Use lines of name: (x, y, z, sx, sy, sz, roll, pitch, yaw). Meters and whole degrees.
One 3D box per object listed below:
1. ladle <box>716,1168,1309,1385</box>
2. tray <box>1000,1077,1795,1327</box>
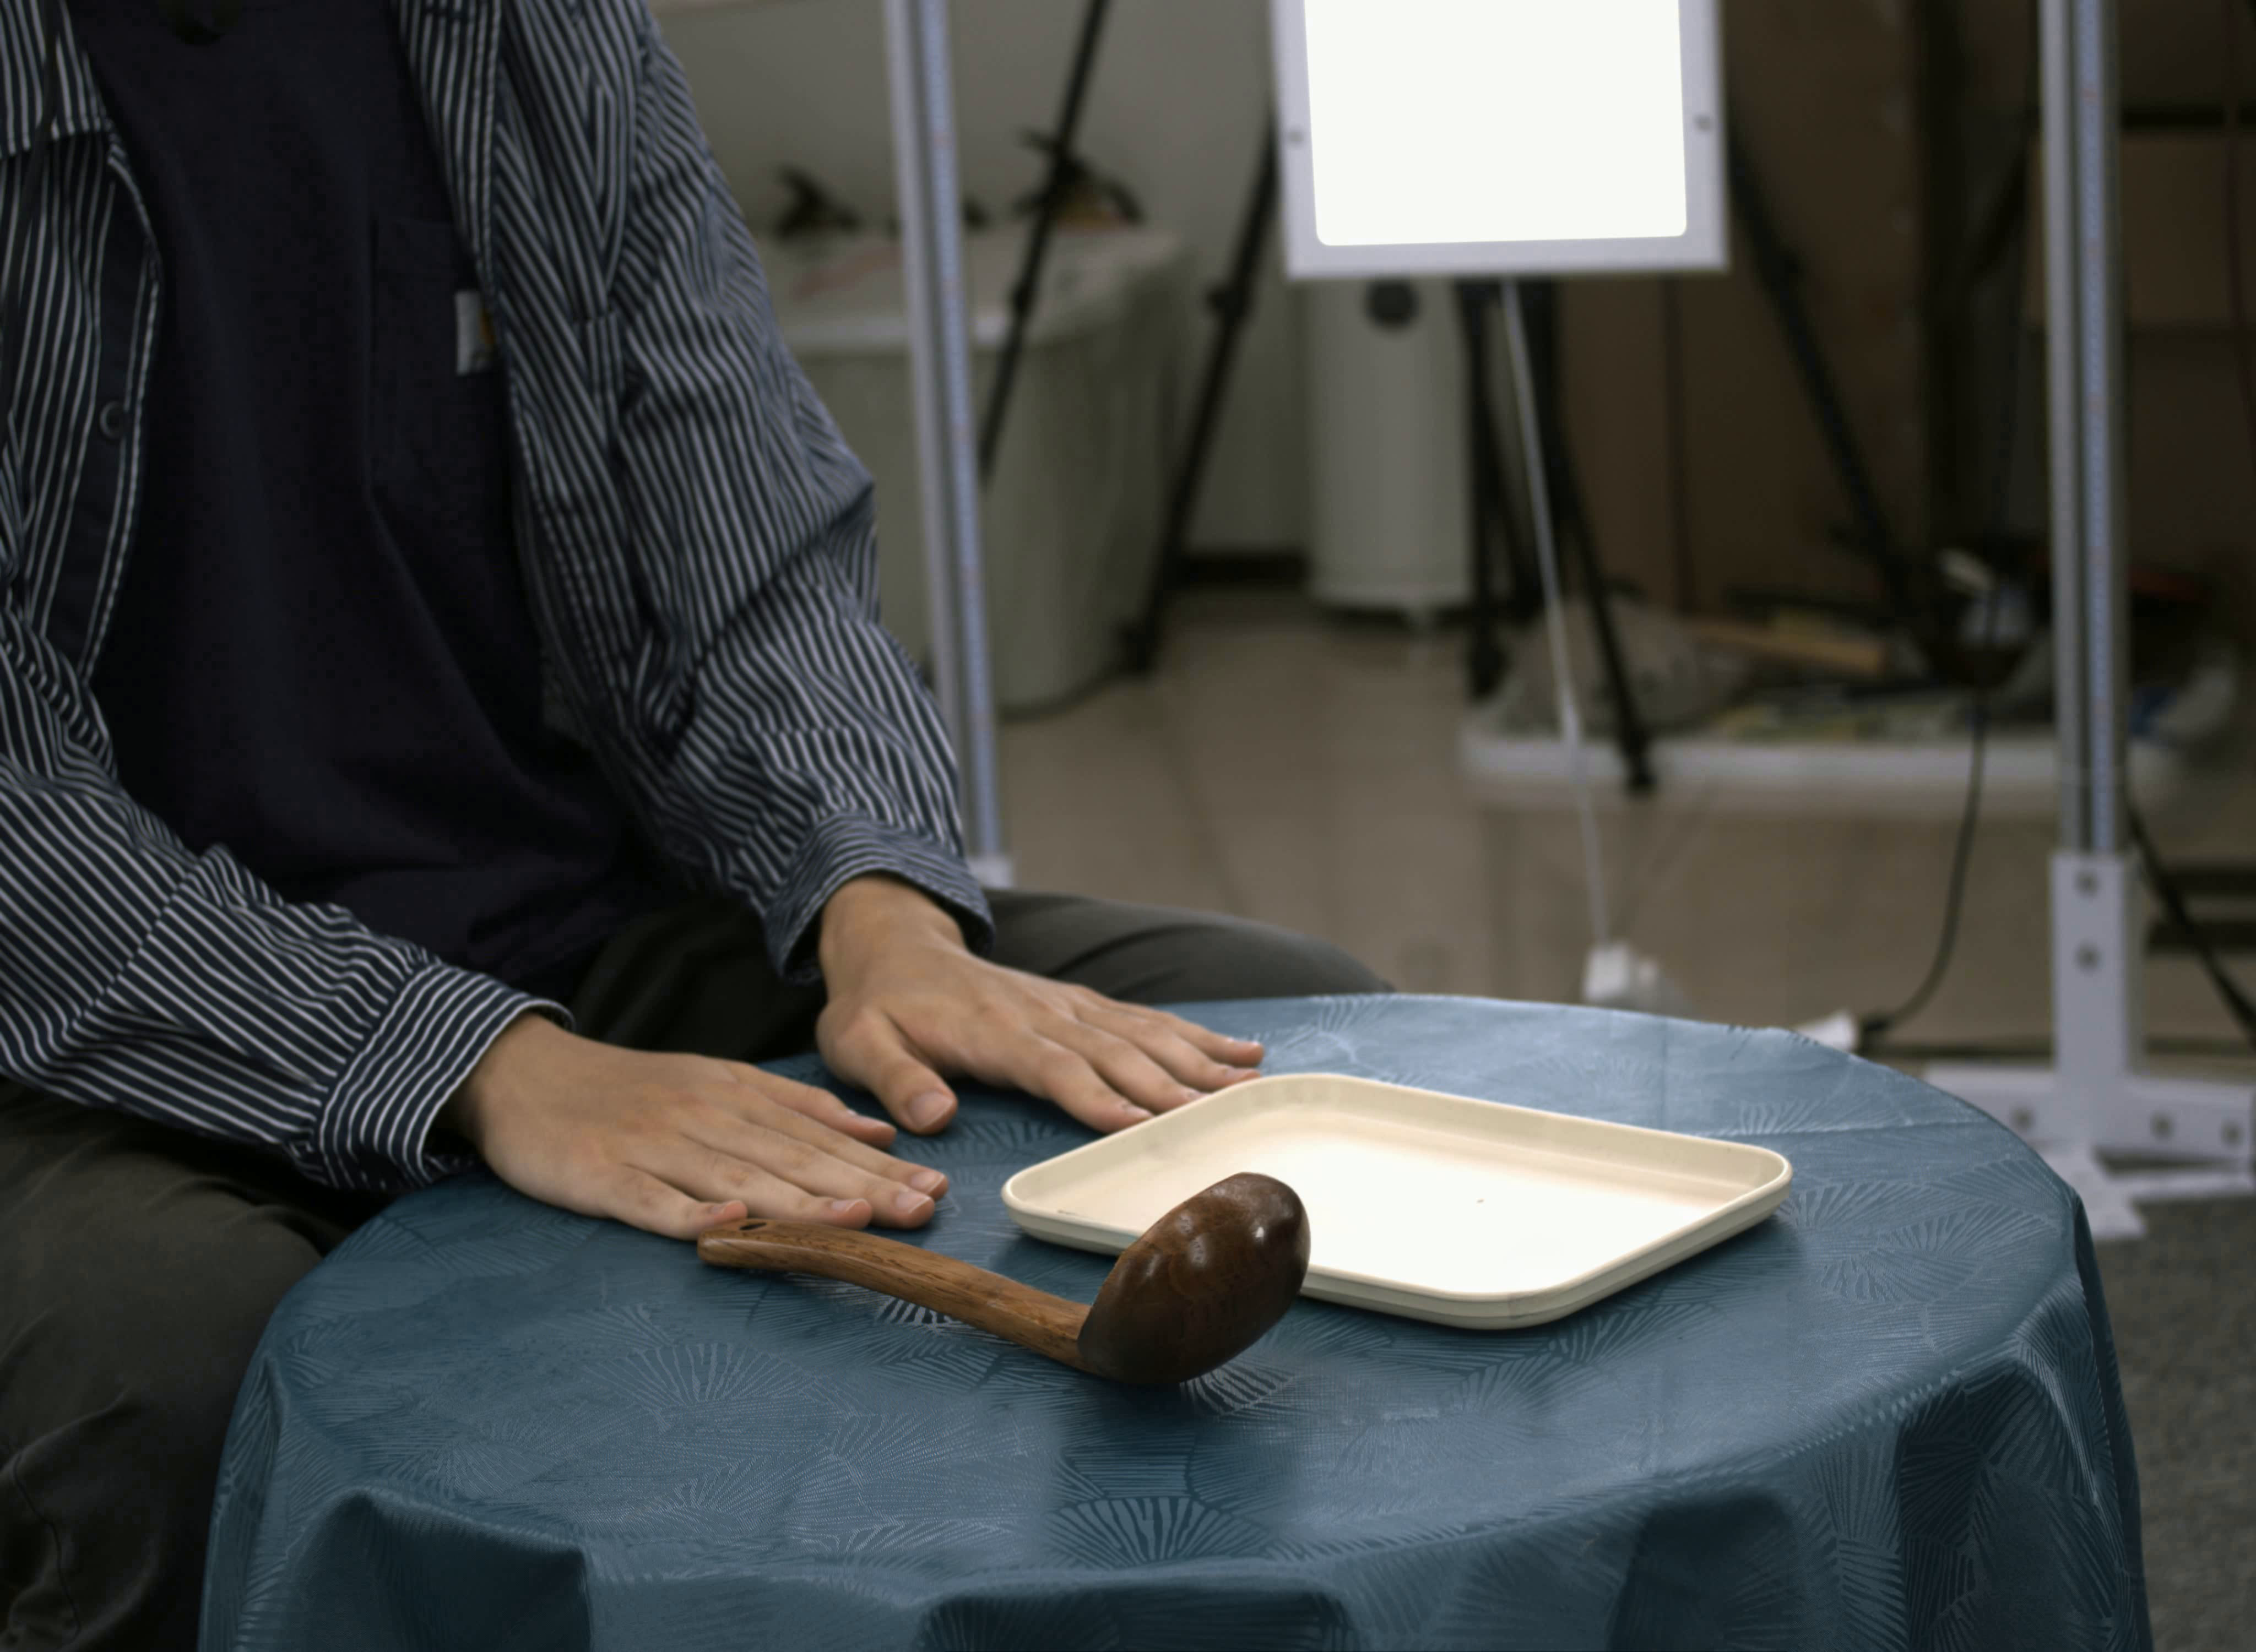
ladle: (-0.049, 0.125, 1.755, 0.080, 0.077, 0.280, -11, 14, -38)
tray: (0.089, 0.124, 1.832, 0.245, 0.017, 0.167, 7, 18, 43)
